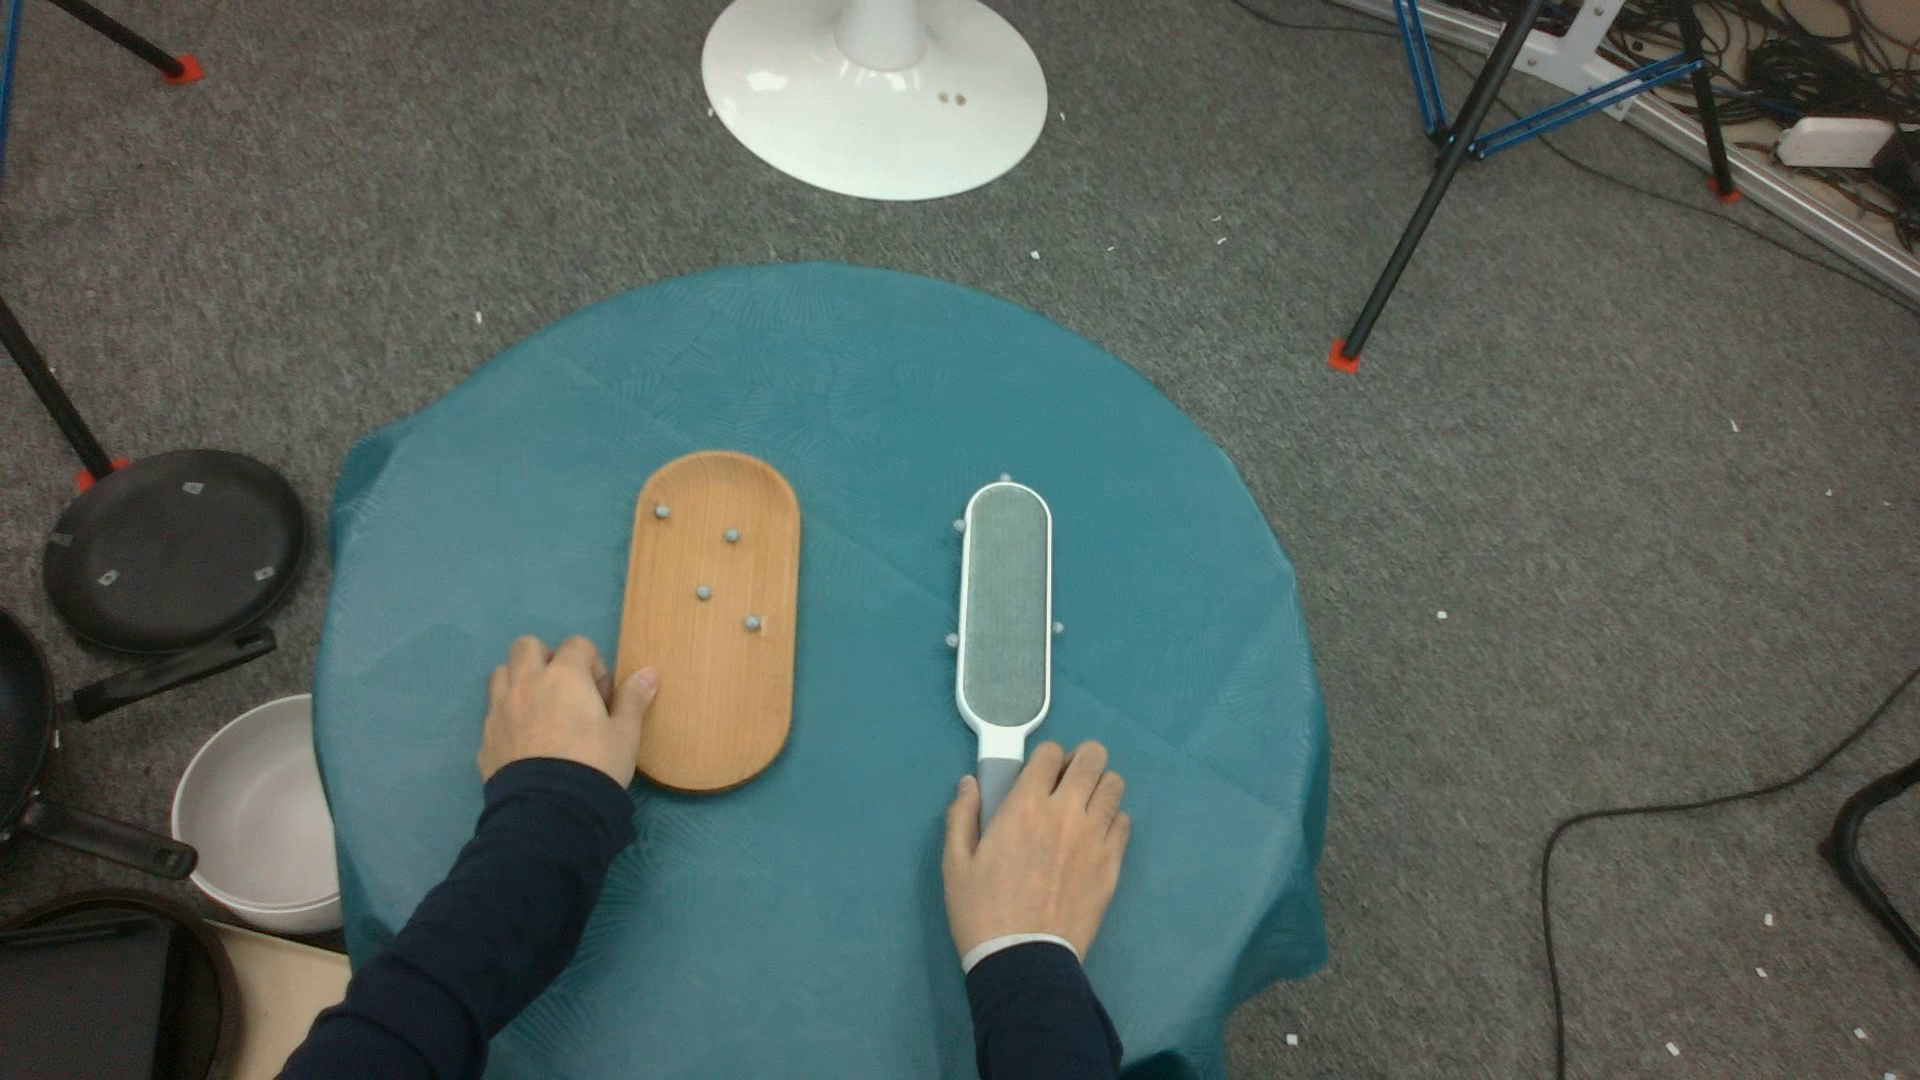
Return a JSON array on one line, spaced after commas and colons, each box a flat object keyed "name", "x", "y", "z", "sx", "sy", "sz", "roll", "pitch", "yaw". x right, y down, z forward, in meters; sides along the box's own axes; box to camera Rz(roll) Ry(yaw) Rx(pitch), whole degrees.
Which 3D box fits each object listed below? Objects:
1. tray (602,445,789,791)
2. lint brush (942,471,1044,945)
[{"name": "tray", "x": -0.154, "y": 0.040, "z": 0.819, "sx": 0.102, "sy": 0.020, "sz": 0.232, "roll": 2, "pitch": 58, "yaw": -9}, {"name": "lint brush", "x": 0.018, "y": 0.085, "z": 0.816, "sx": 0.060, "sy": 0.021, "sz": 0.310, "roll": 10, "pitch": 56, "yaw": -10}]
